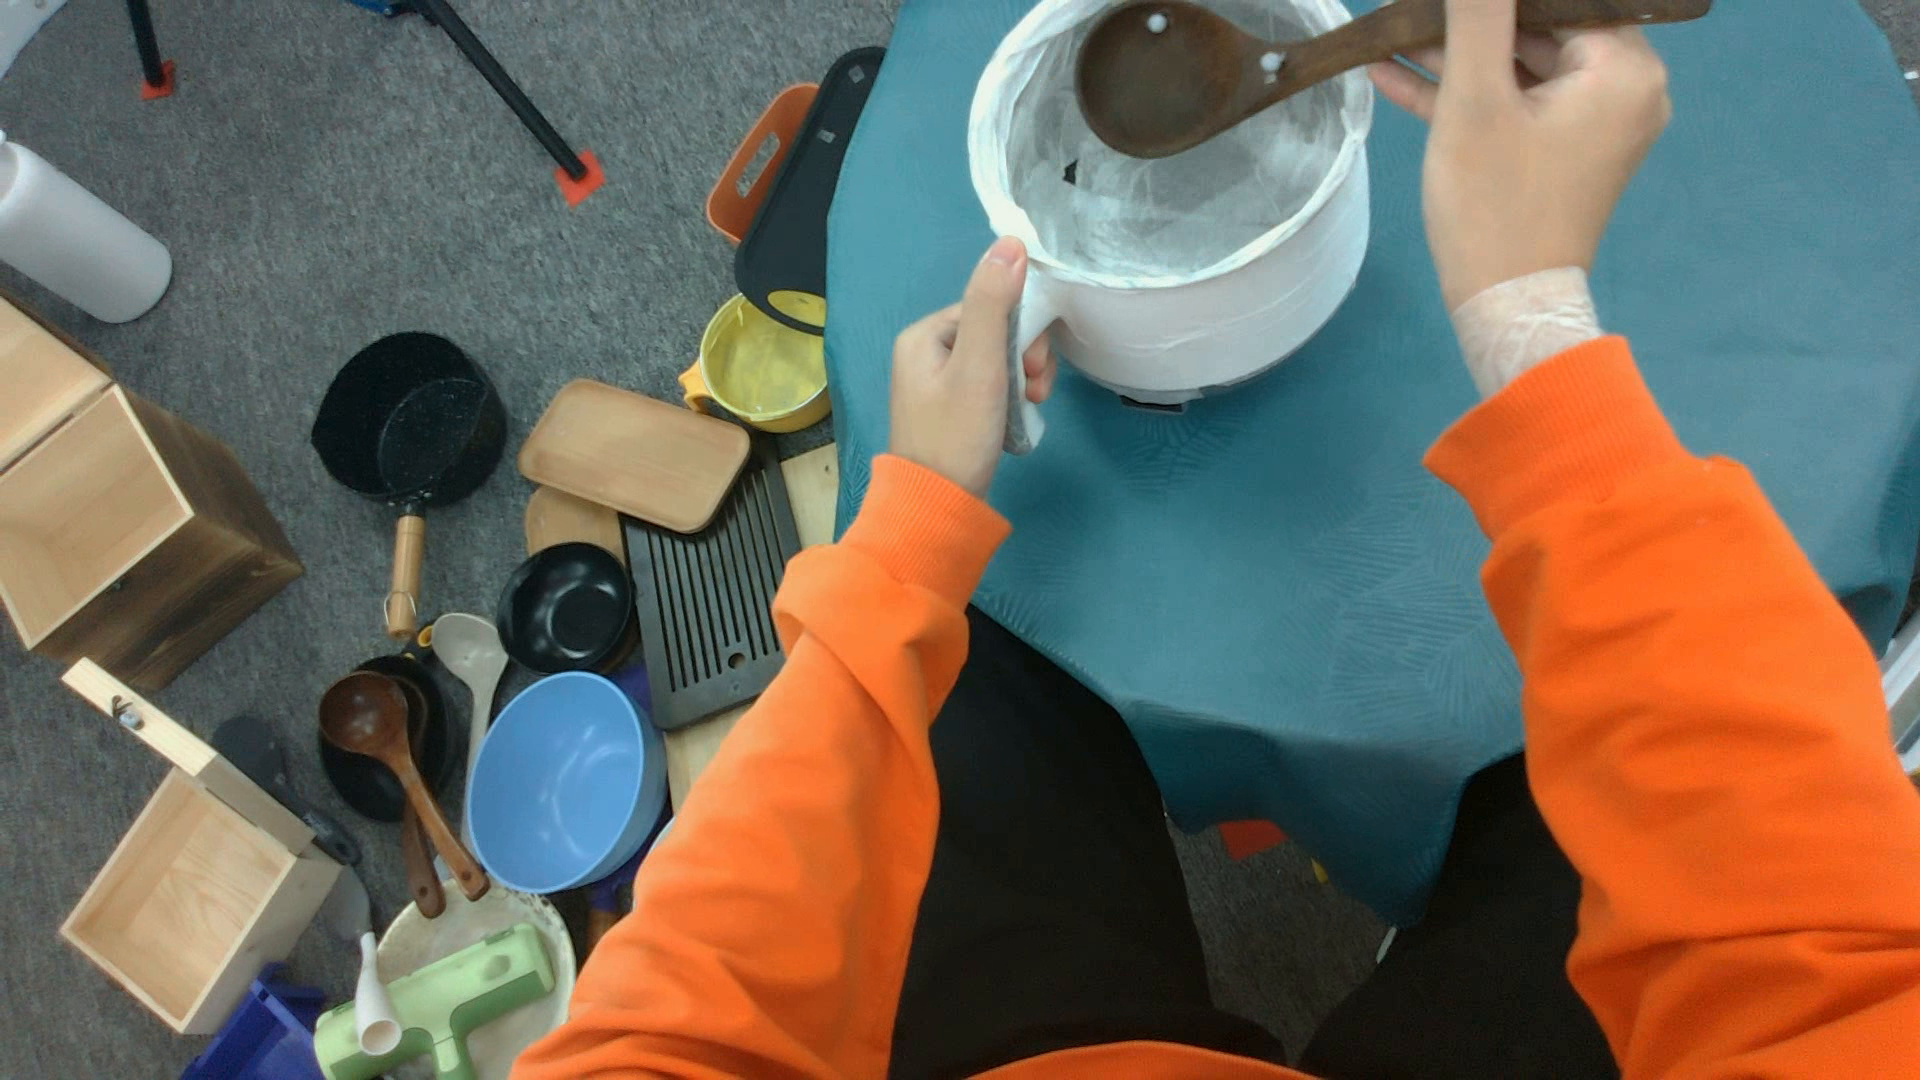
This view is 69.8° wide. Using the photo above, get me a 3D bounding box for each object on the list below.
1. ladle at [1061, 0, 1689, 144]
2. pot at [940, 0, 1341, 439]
[{"bbox_3d":[0.143,-0.207,0.540,0.273,0.071,0.076,13,94,57],"label":"ladle"},{"bbox_3d":[0.075,-0.155,0.664,0.179,0.136,0.234,38,83,24],"label":"pot"}]
